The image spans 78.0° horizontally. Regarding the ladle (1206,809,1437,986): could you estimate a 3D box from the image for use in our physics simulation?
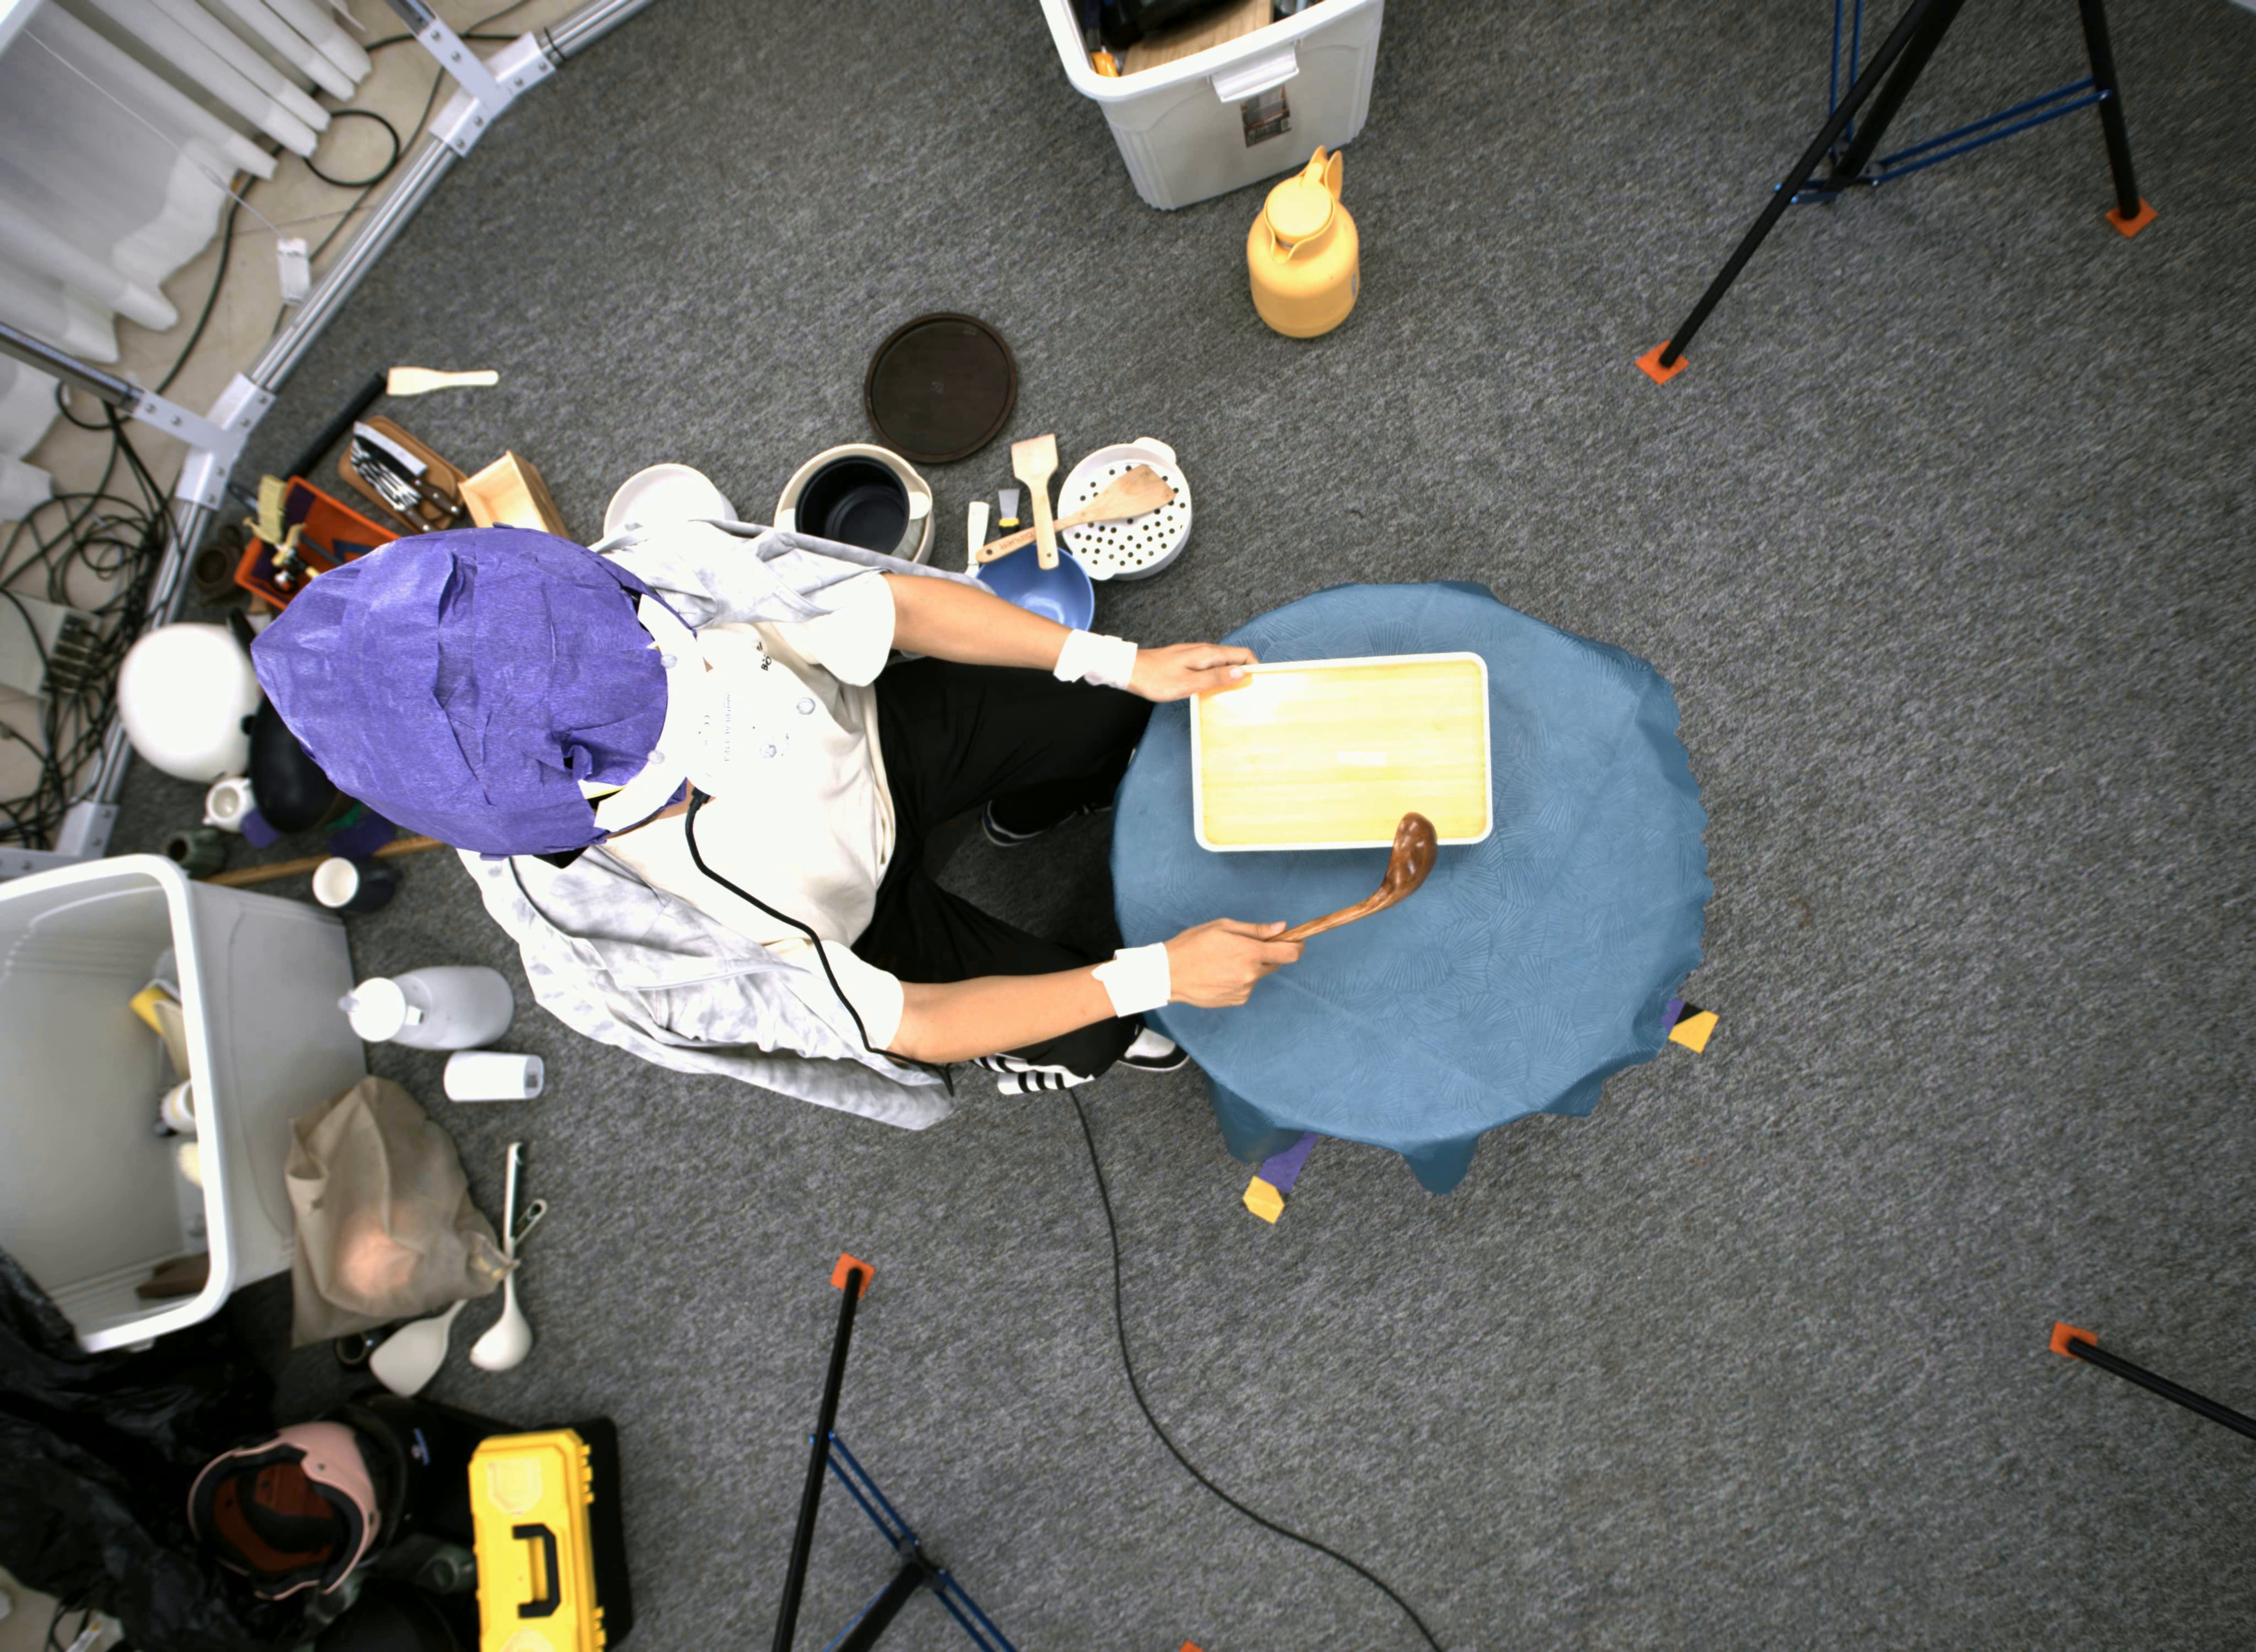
[{"bbox_3d":[0.180,0.070,1.351,0.278,0.082,0.075,-28,70,26],"label":"ladle"}]

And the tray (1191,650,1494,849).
[{"bbox_3d":[0.216,-0.077,1.403,0.302,0.027,0.192,-2,93,15],"label":"tray"}]
